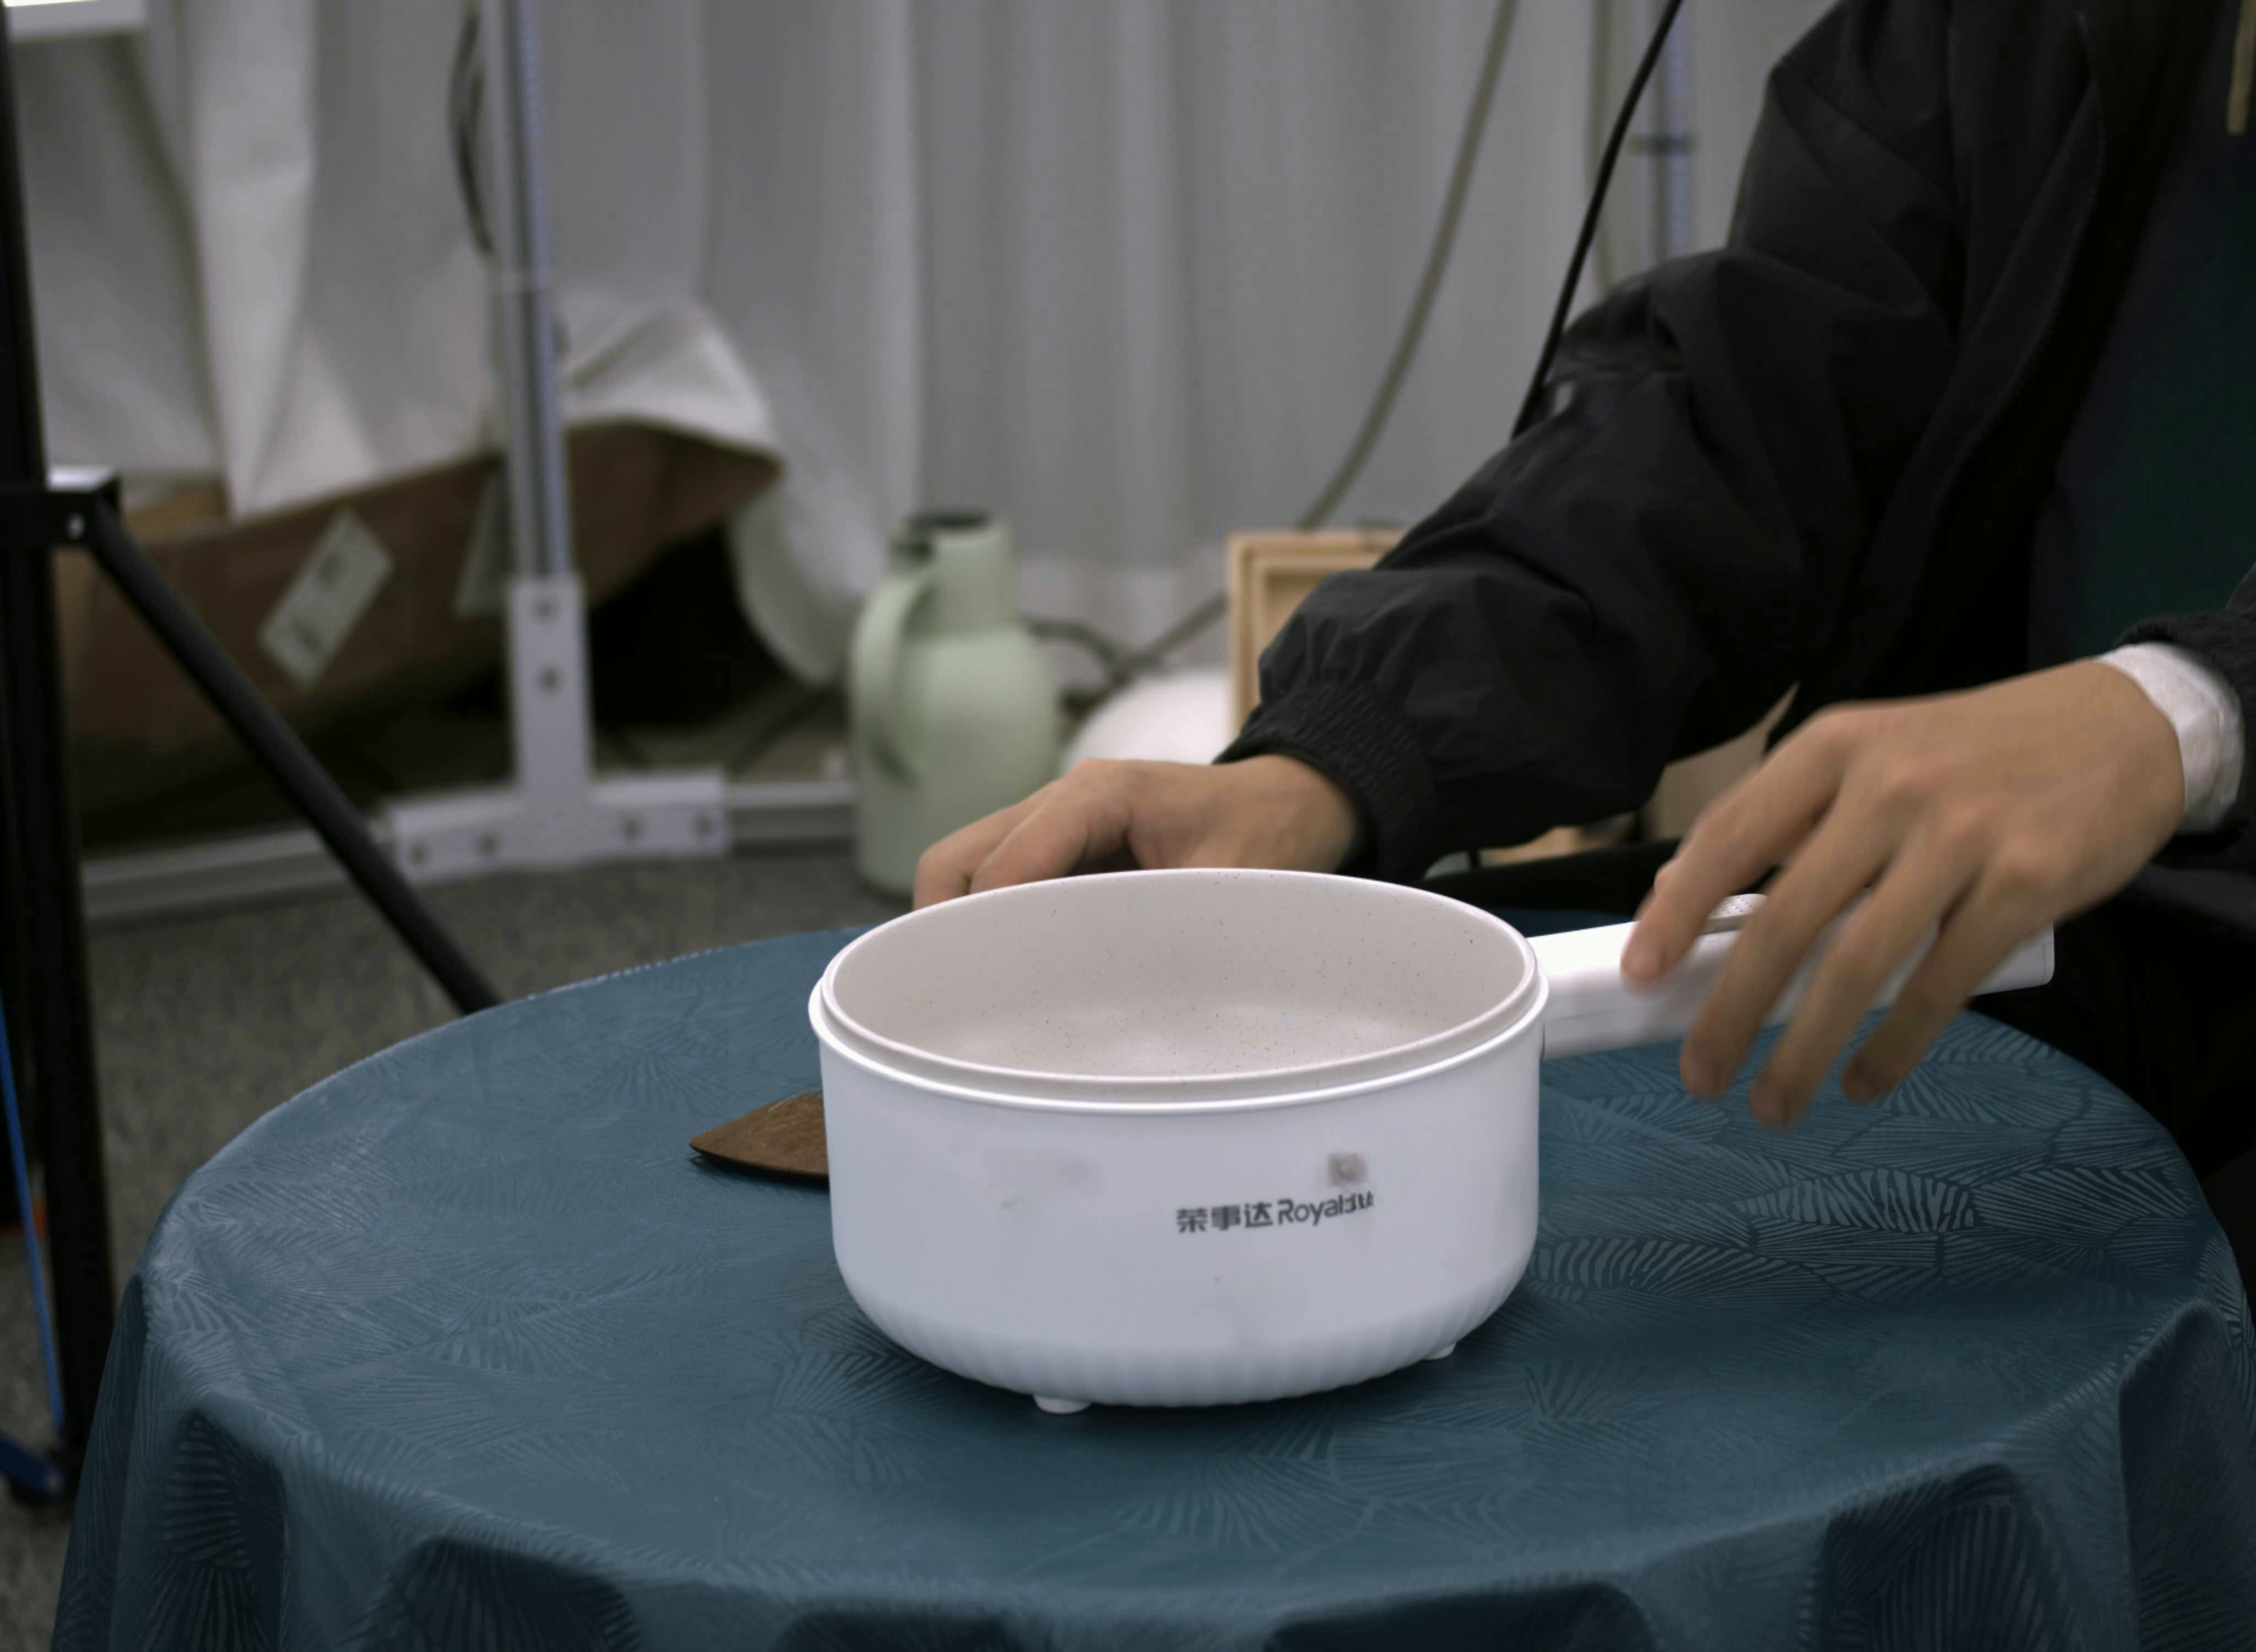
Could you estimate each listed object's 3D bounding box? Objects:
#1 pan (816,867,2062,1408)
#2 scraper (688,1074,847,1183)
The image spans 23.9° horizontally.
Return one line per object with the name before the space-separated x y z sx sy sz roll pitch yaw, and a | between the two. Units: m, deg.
pan | 0.089 0.080 1.467 0.349 0.102 0.204 -5 15 -15
scraper | -0.051 0.068 1.663 0.077 0.011 0.208 9 25 31
